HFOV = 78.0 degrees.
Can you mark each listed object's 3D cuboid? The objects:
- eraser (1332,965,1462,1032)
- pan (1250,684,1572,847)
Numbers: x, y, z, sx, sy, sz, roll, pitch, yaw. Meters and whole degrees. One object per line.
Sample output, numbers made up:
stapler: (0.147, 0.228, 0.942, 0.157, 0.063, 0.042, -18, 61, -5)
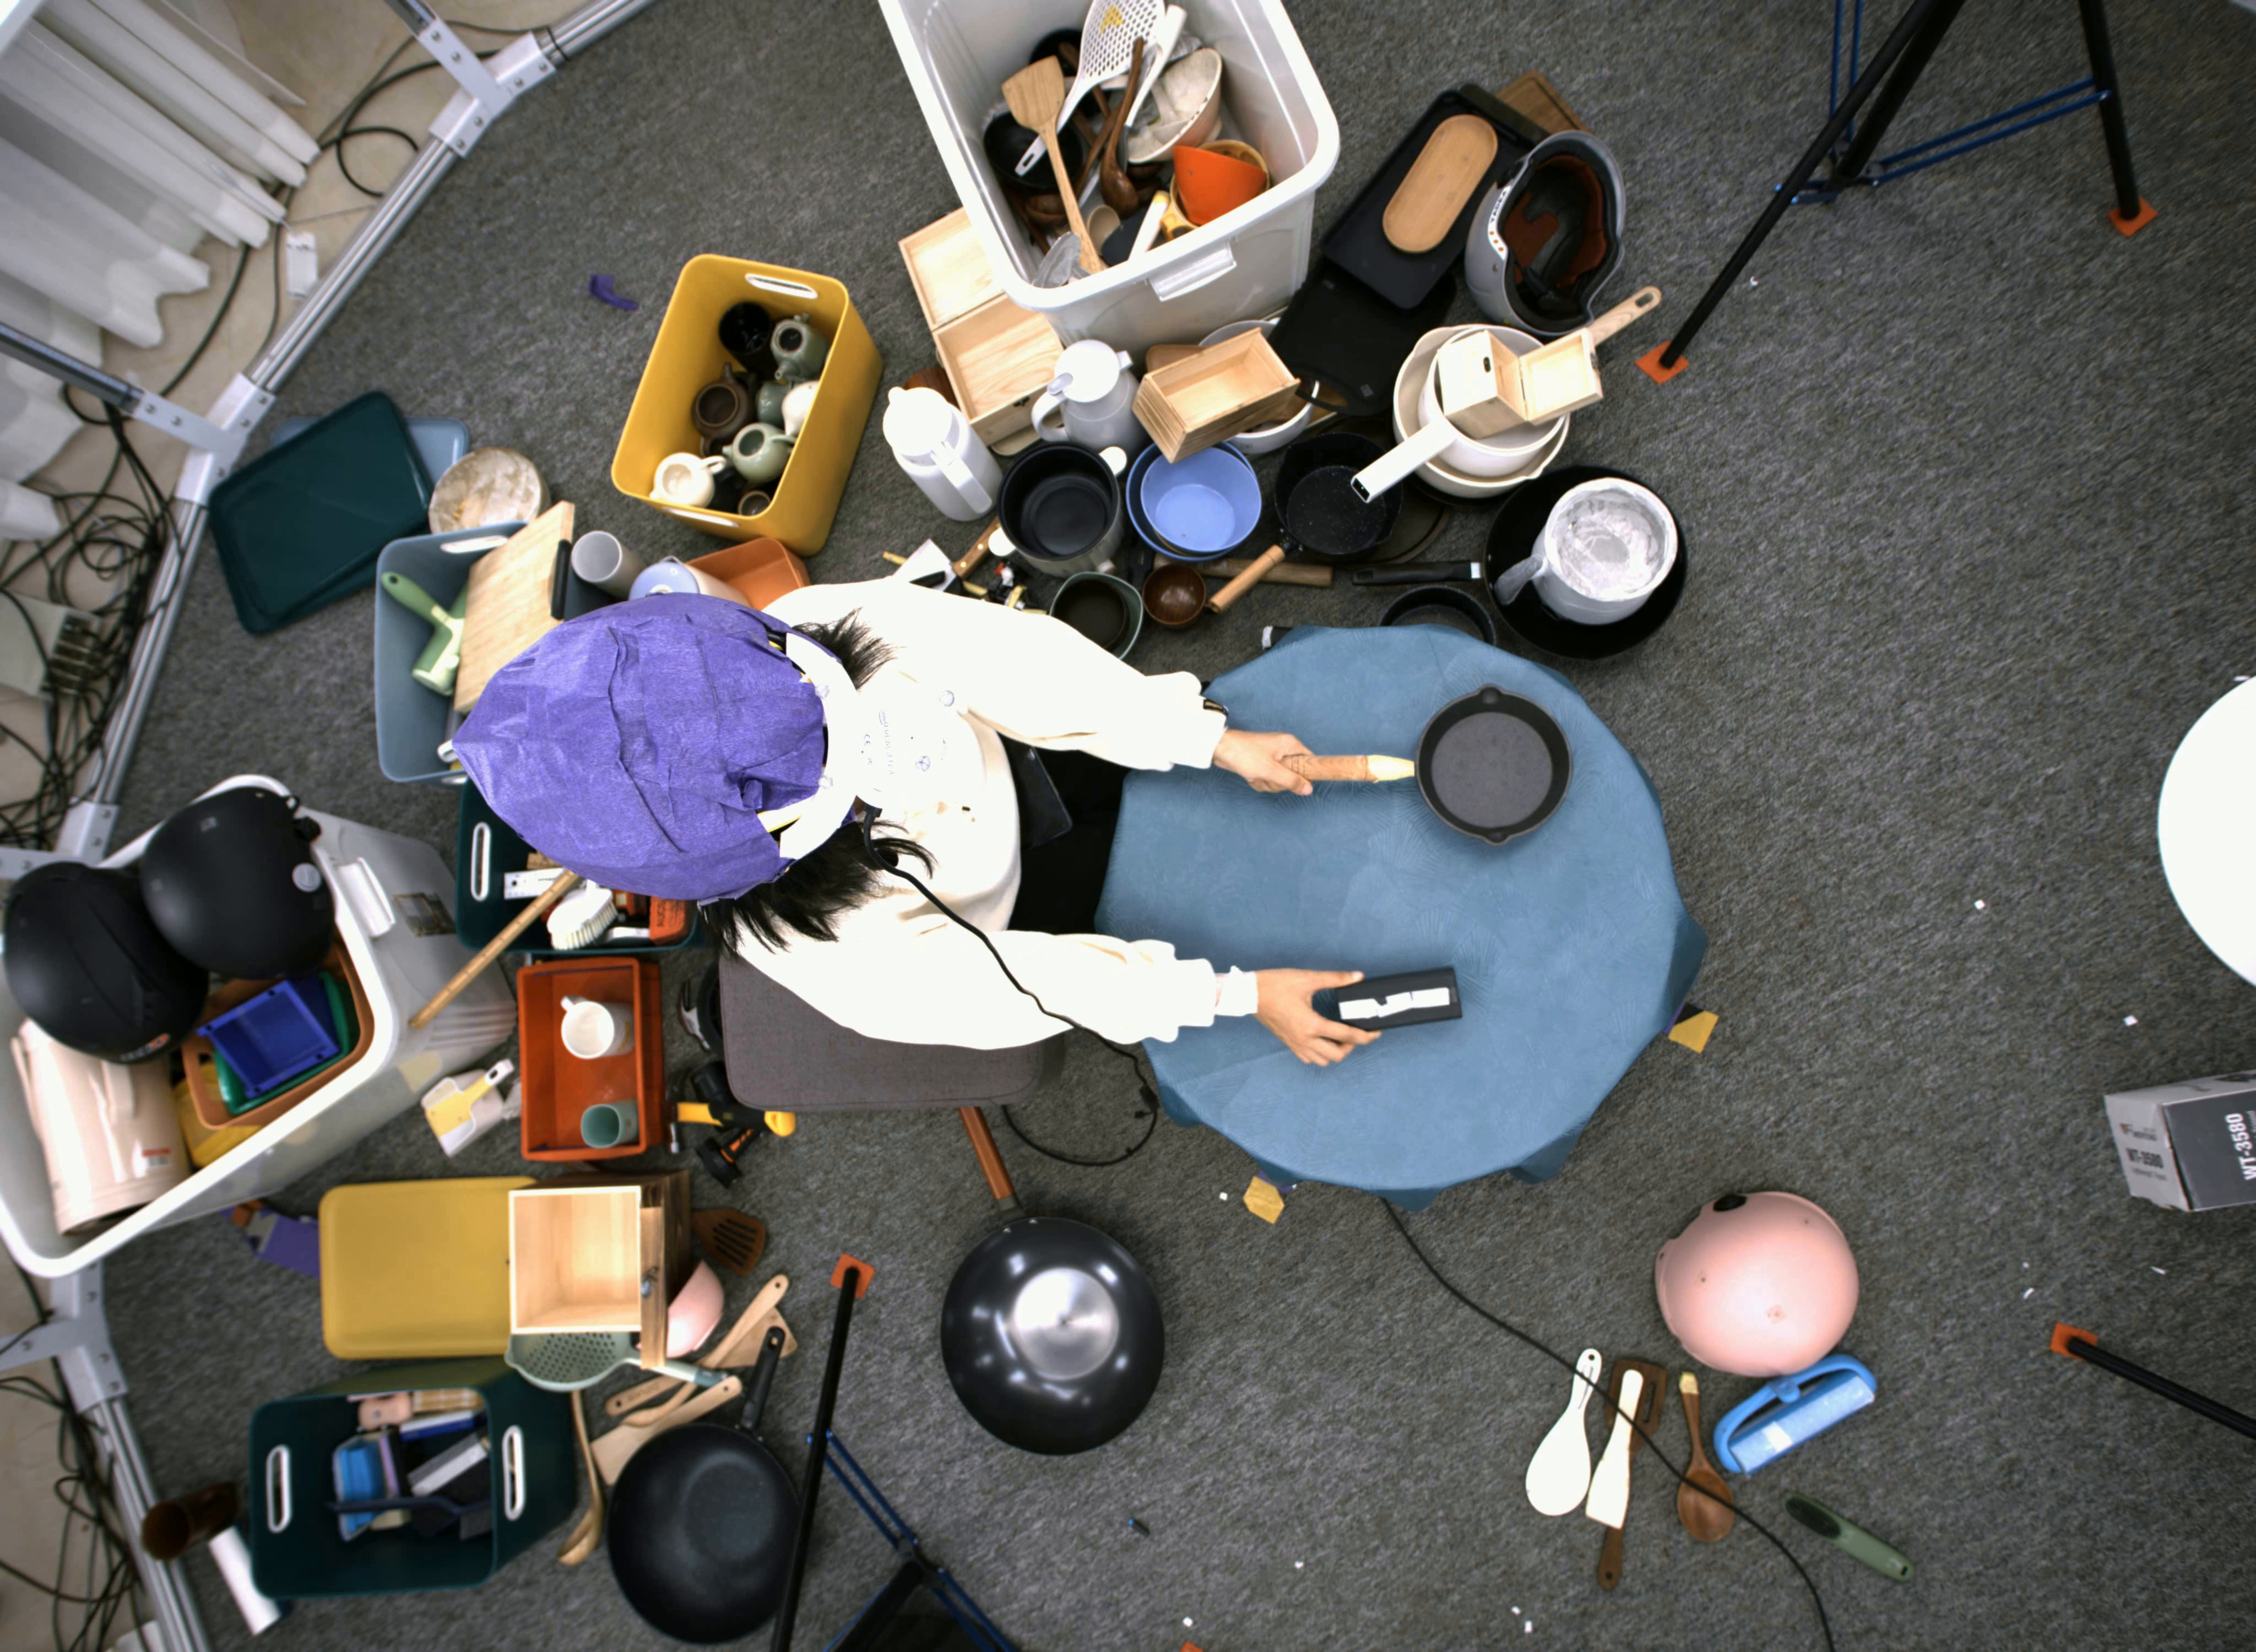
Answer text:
eraser: (0.274, 0.173, 1.411, 0.126, 0.030, 0.053, -9, 91, 14)
pan: (0.288, -0.064, 1.417, 0.325, 0.050, 0.168, 1, 84, 10)
